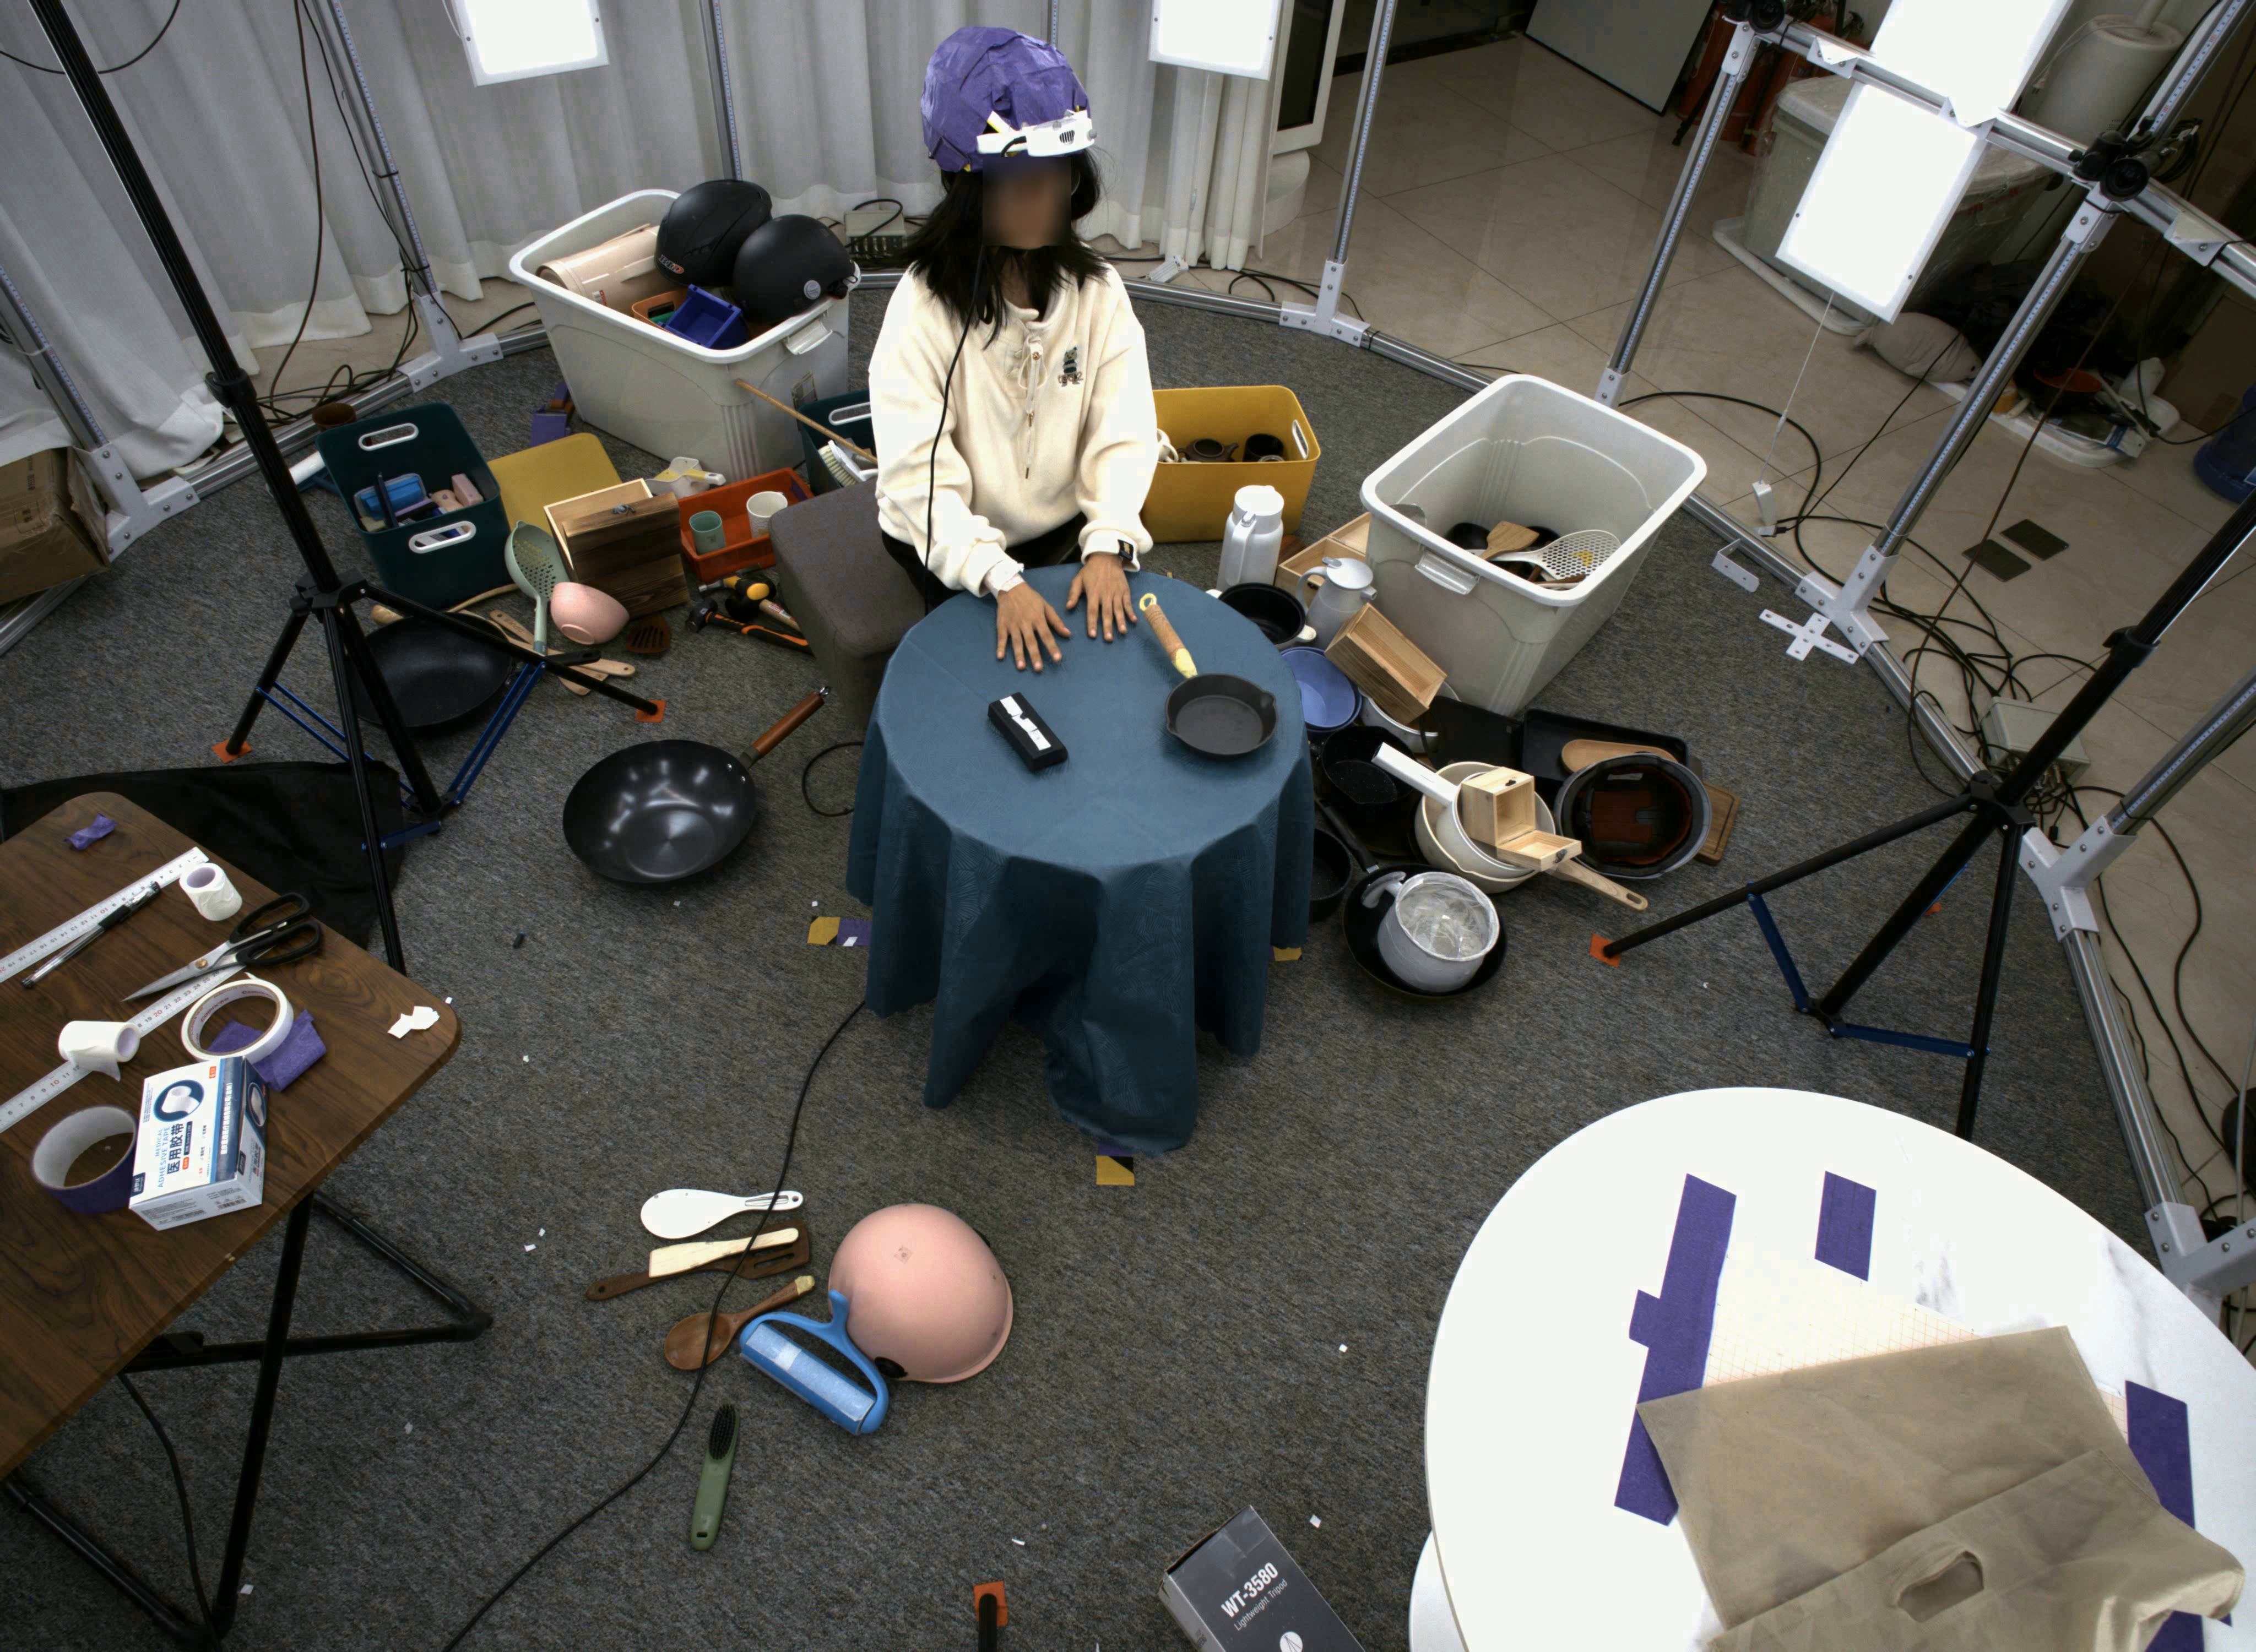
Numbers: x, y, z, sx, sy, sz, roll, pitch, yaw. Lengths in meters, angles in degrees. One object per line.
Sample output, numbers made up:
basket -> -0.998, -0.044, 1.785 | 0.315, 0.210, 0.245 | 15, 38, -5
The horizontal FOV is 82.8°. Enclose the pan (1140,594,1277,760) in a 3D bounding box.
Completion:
pan -> 0.093, -0.214, 1.829 | 0.169, 0.048, 0.331 | -17, 53, -17

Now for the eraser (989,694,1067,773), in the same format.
eraser -> -0.137, -0.128, 1.754 | 0.054, 0.030, 0.128 | -23, 53, -23
